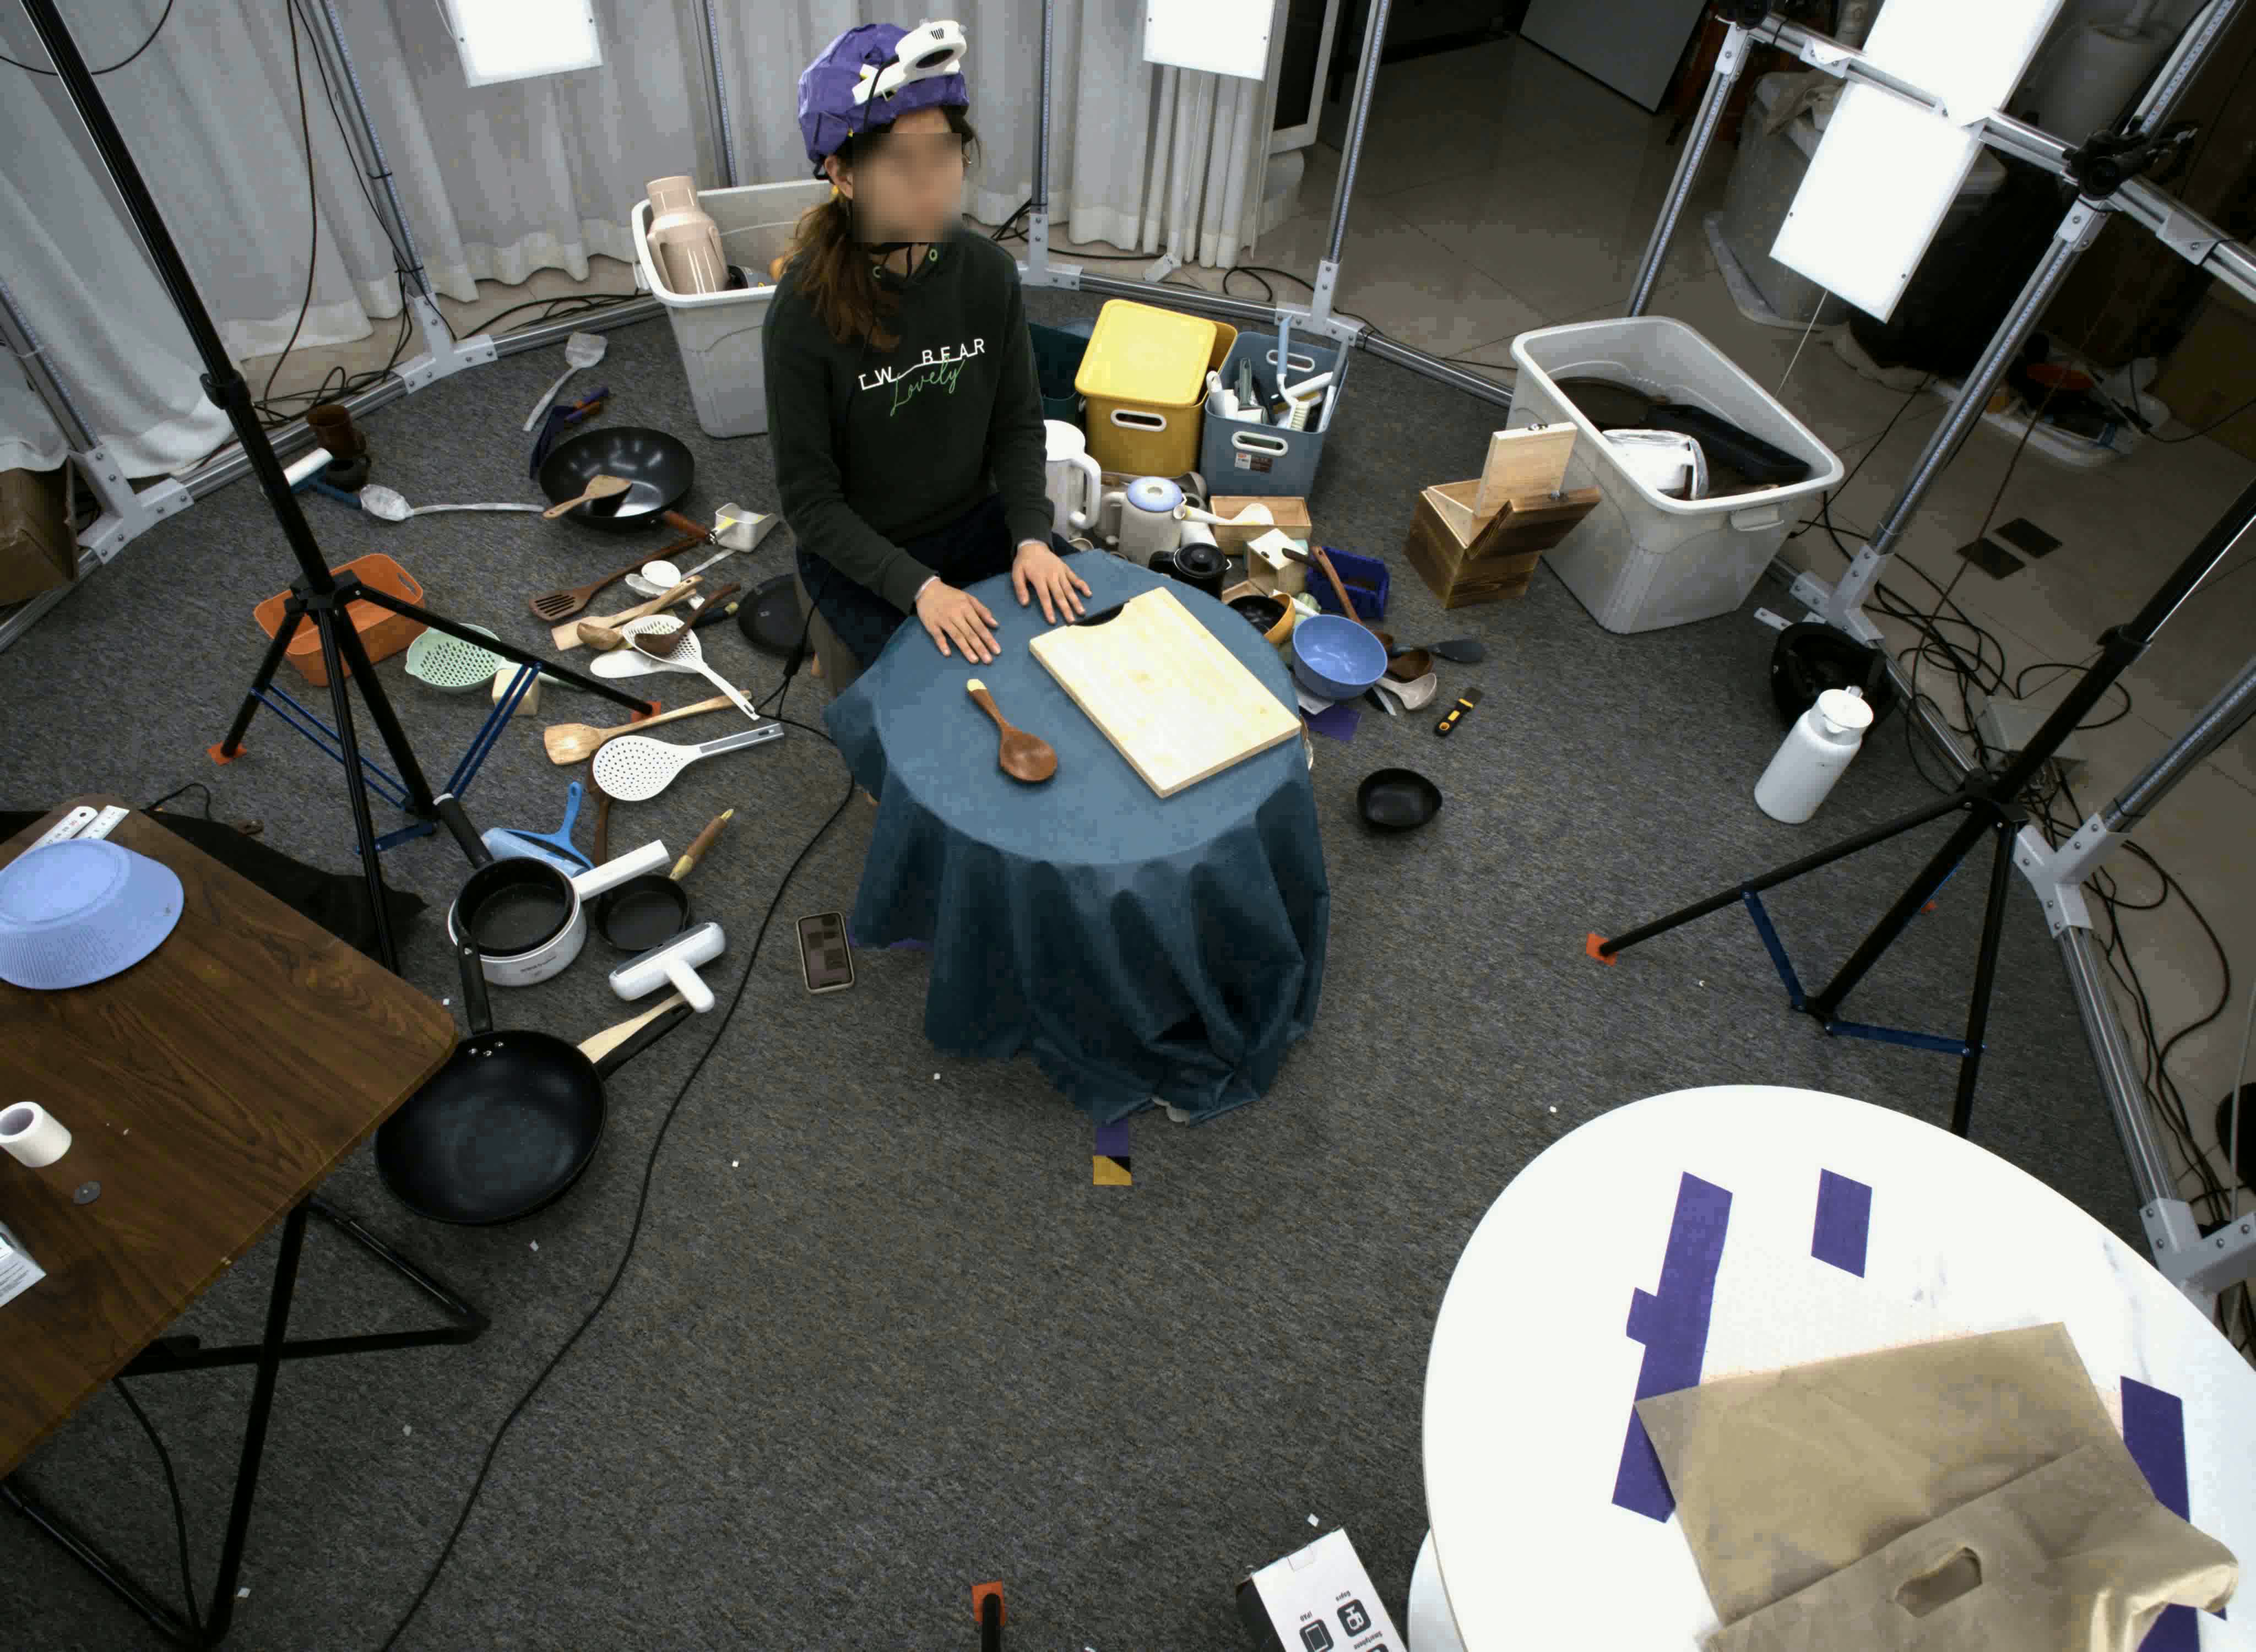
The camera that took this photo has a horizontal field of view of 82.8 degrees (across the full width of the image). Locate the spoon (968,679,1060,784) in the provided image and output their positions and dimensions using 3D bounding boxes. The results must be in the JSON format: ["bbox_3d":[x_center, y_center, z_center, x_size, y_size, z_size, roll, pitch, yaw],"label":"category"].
[{"bbox_3d":[-0.165,-0.132,1.776,0.076,0.017,0.220,-23,55,-20],"label":"spoon"}]

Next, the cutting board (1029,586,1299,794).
[{"bbox_3d":[0.047,-0.205,1.855,0.252,0.023,0.355,-25,55,-24],"label":"cutting board"}]
